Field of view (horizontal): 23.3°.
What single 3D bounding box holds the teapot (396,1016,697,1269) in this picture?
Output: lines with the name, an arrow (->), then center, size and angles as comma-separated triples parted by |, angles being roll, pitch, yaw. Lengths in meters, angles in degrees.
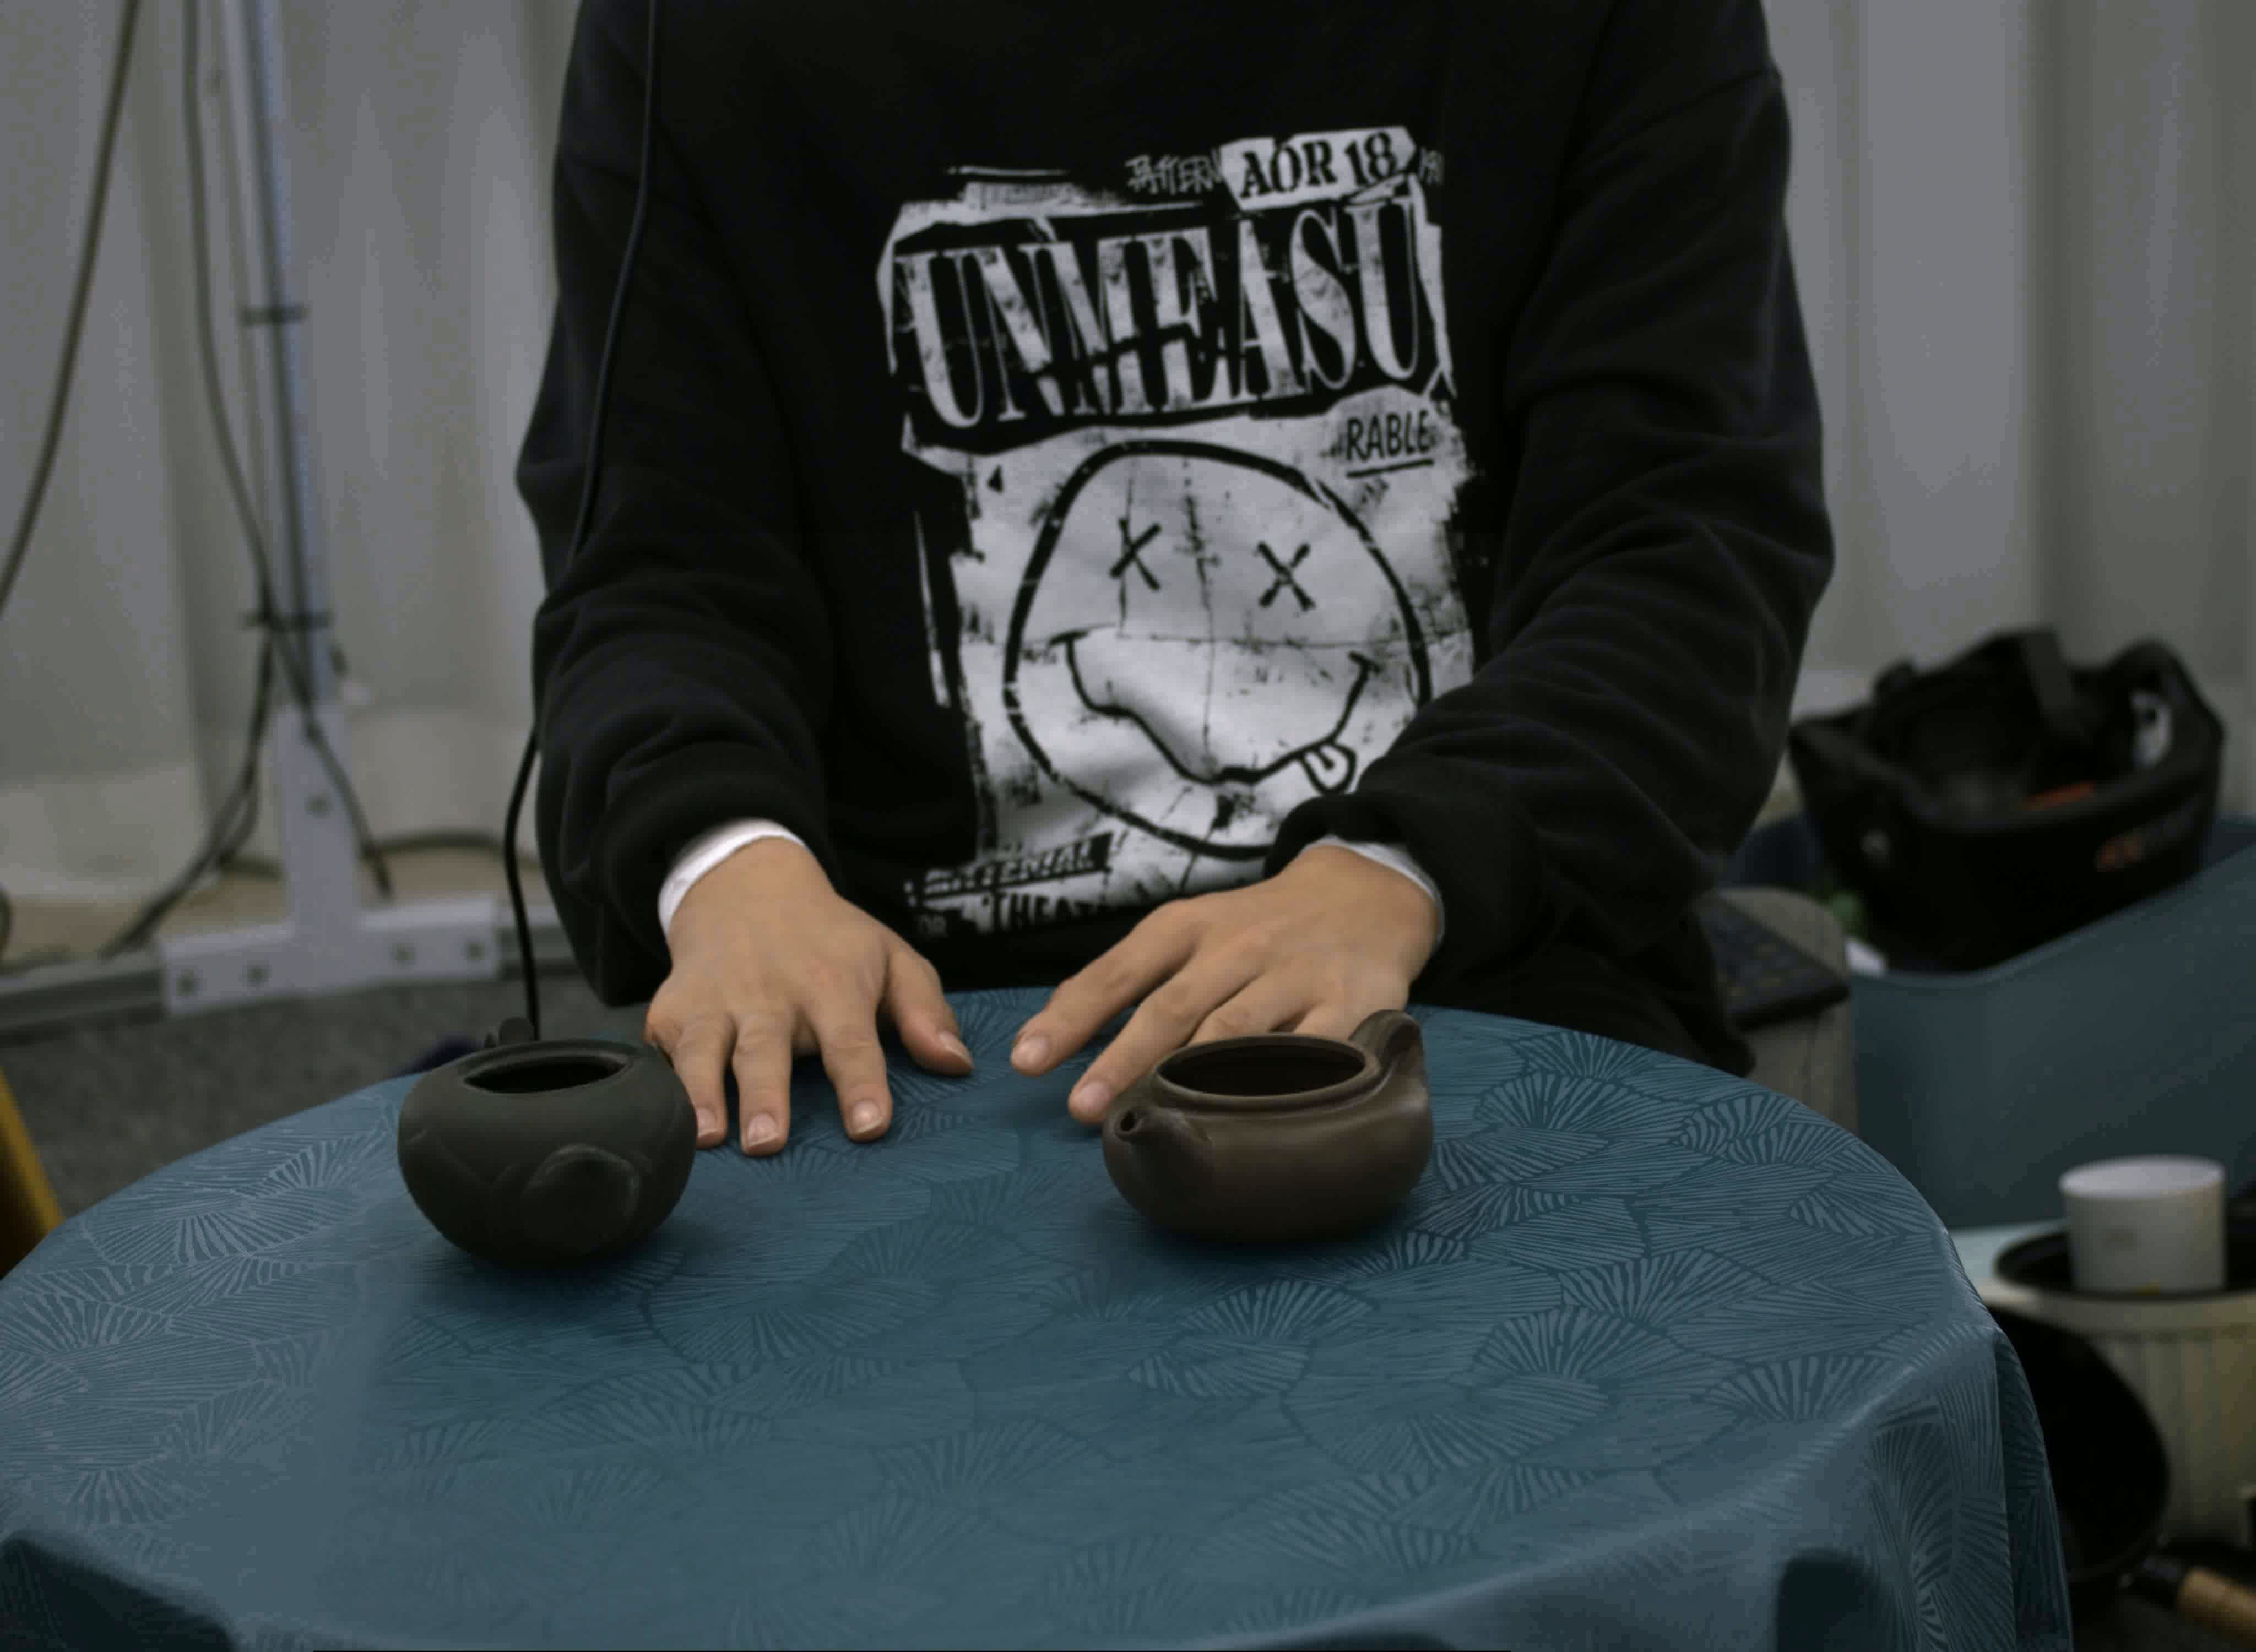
teapot -> -0.180, 0.098, 1.688 | 0.092, 0.064, 0.155 | -5, 15, -16

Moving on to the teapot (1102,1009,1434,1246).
teapot -> 0.045, 0.093, 1.682 | 0.103, 0.053, 0.153 | 8, 19, 31
